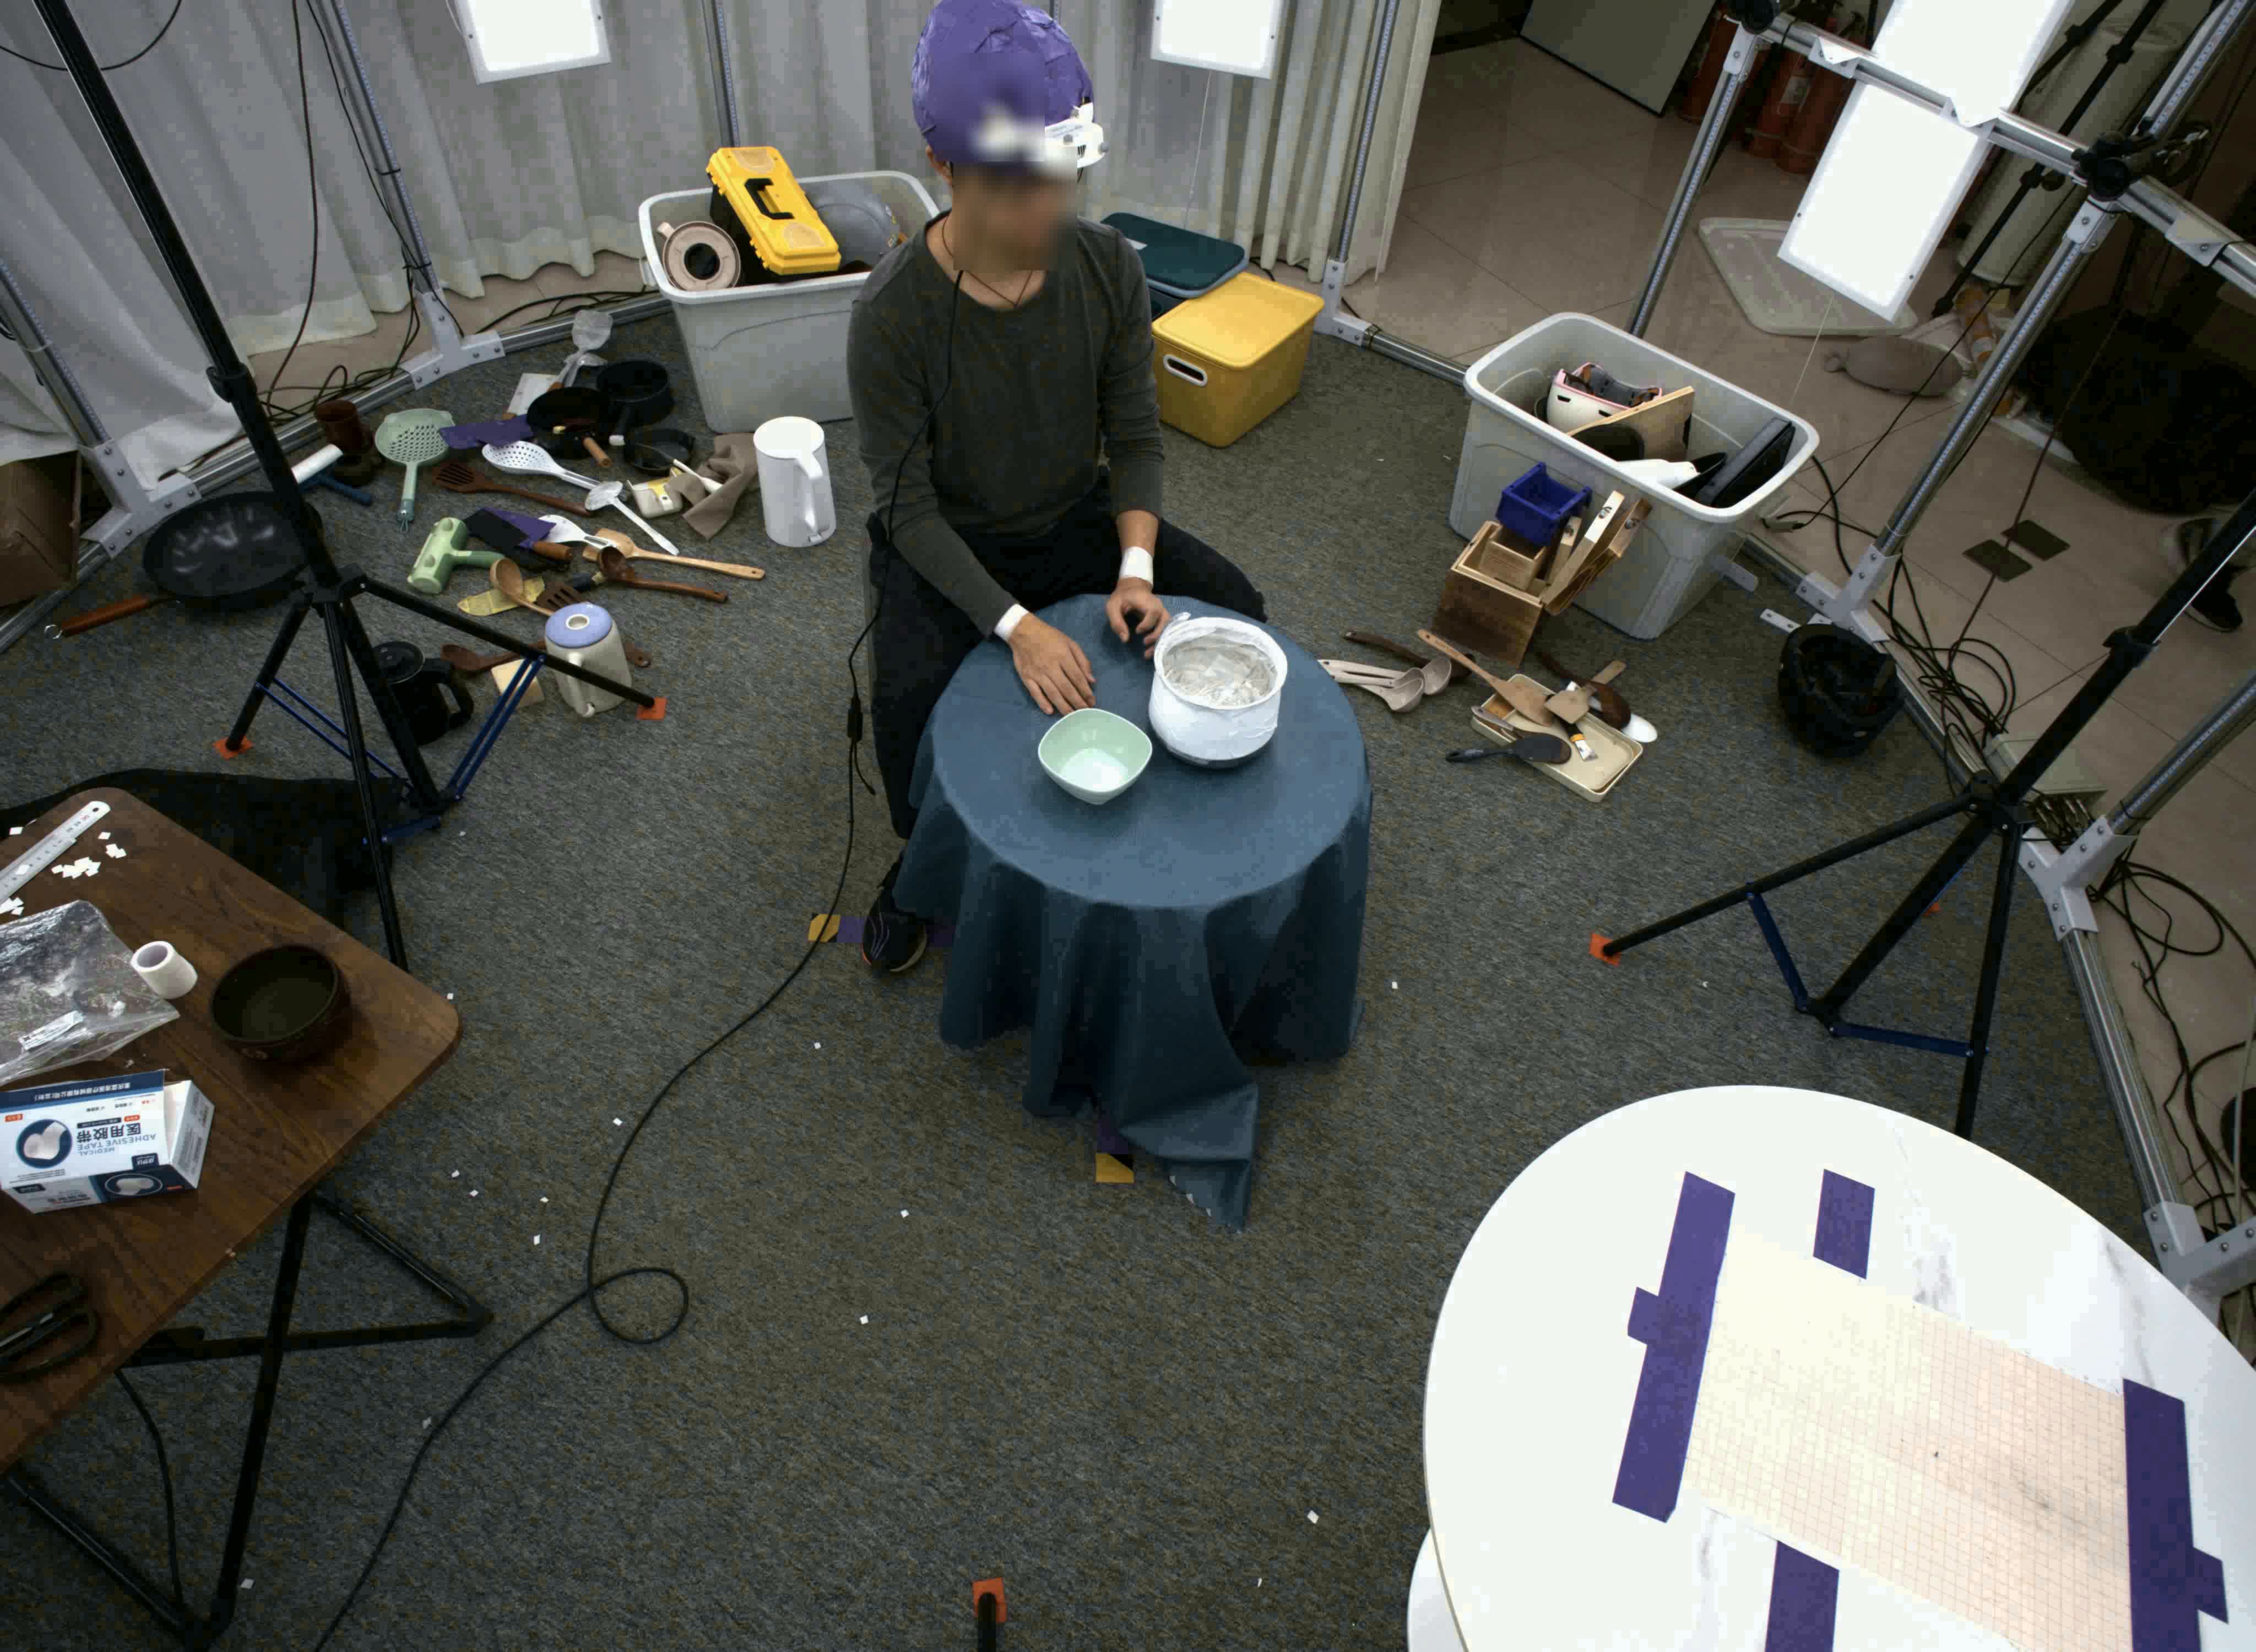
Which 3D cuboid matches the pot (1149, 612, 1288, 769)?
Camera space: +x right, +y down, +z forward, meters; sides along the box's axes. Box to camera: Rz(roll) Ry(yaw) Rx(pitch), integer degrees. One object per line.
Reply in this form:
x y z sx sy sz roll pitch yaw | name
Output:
0.106 -0.195 1.756 0.179 0.133 0.239 -20 53 -20 | pot

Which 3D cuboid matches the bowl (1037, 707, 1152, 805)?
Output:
-0.046 -0.083 1.700 0.151 0.057 0.155 2 50 -3 | bowl
